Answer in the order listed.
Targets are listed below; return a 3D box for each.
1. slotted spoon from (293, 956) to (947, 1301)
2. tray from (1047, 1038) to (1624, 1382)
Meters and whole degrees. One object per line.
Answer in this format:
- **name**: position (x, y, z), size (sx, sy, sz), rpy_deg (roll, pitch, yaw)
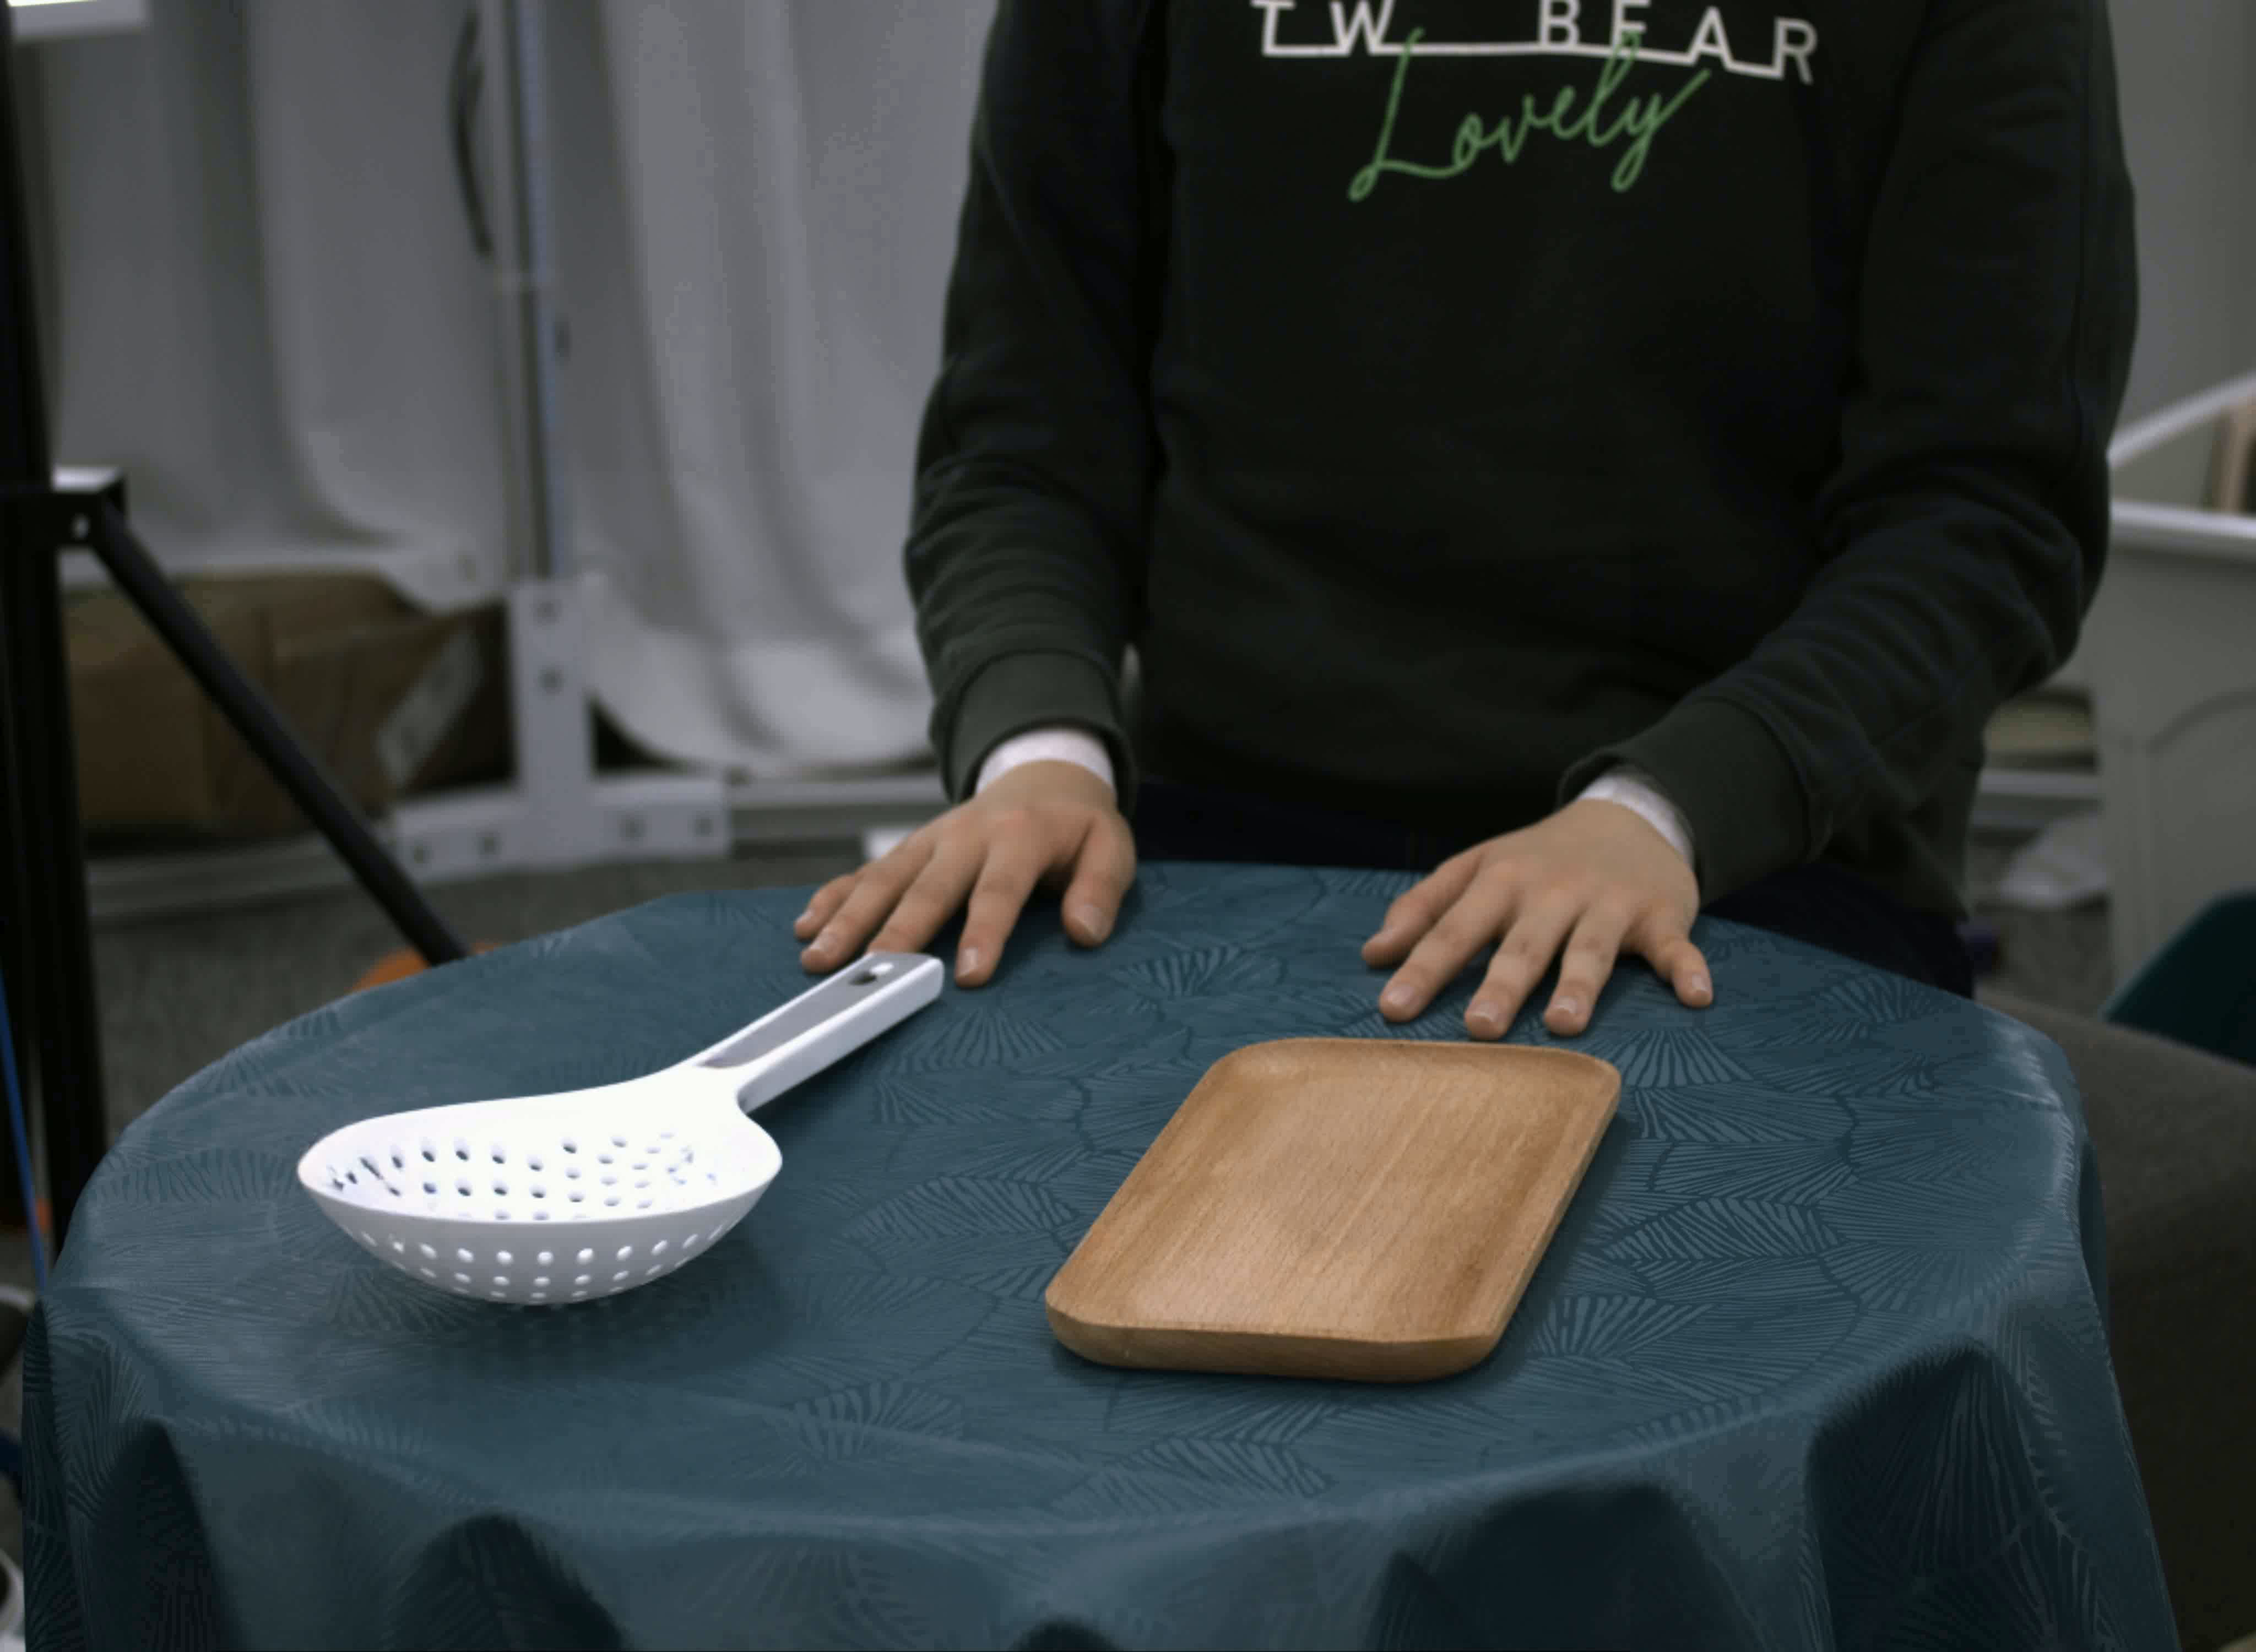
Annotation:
- **slotted spoon**: position (-0.129, 0.081, 1.593), size (0.137, 0.046, 0.345), rpy_deg (5, 17, 19)
- **tray**: position (0.064, 0.107, 1.520), size (0.131, 0.023, 0.248), rpy_deg (4, 16, 15)
